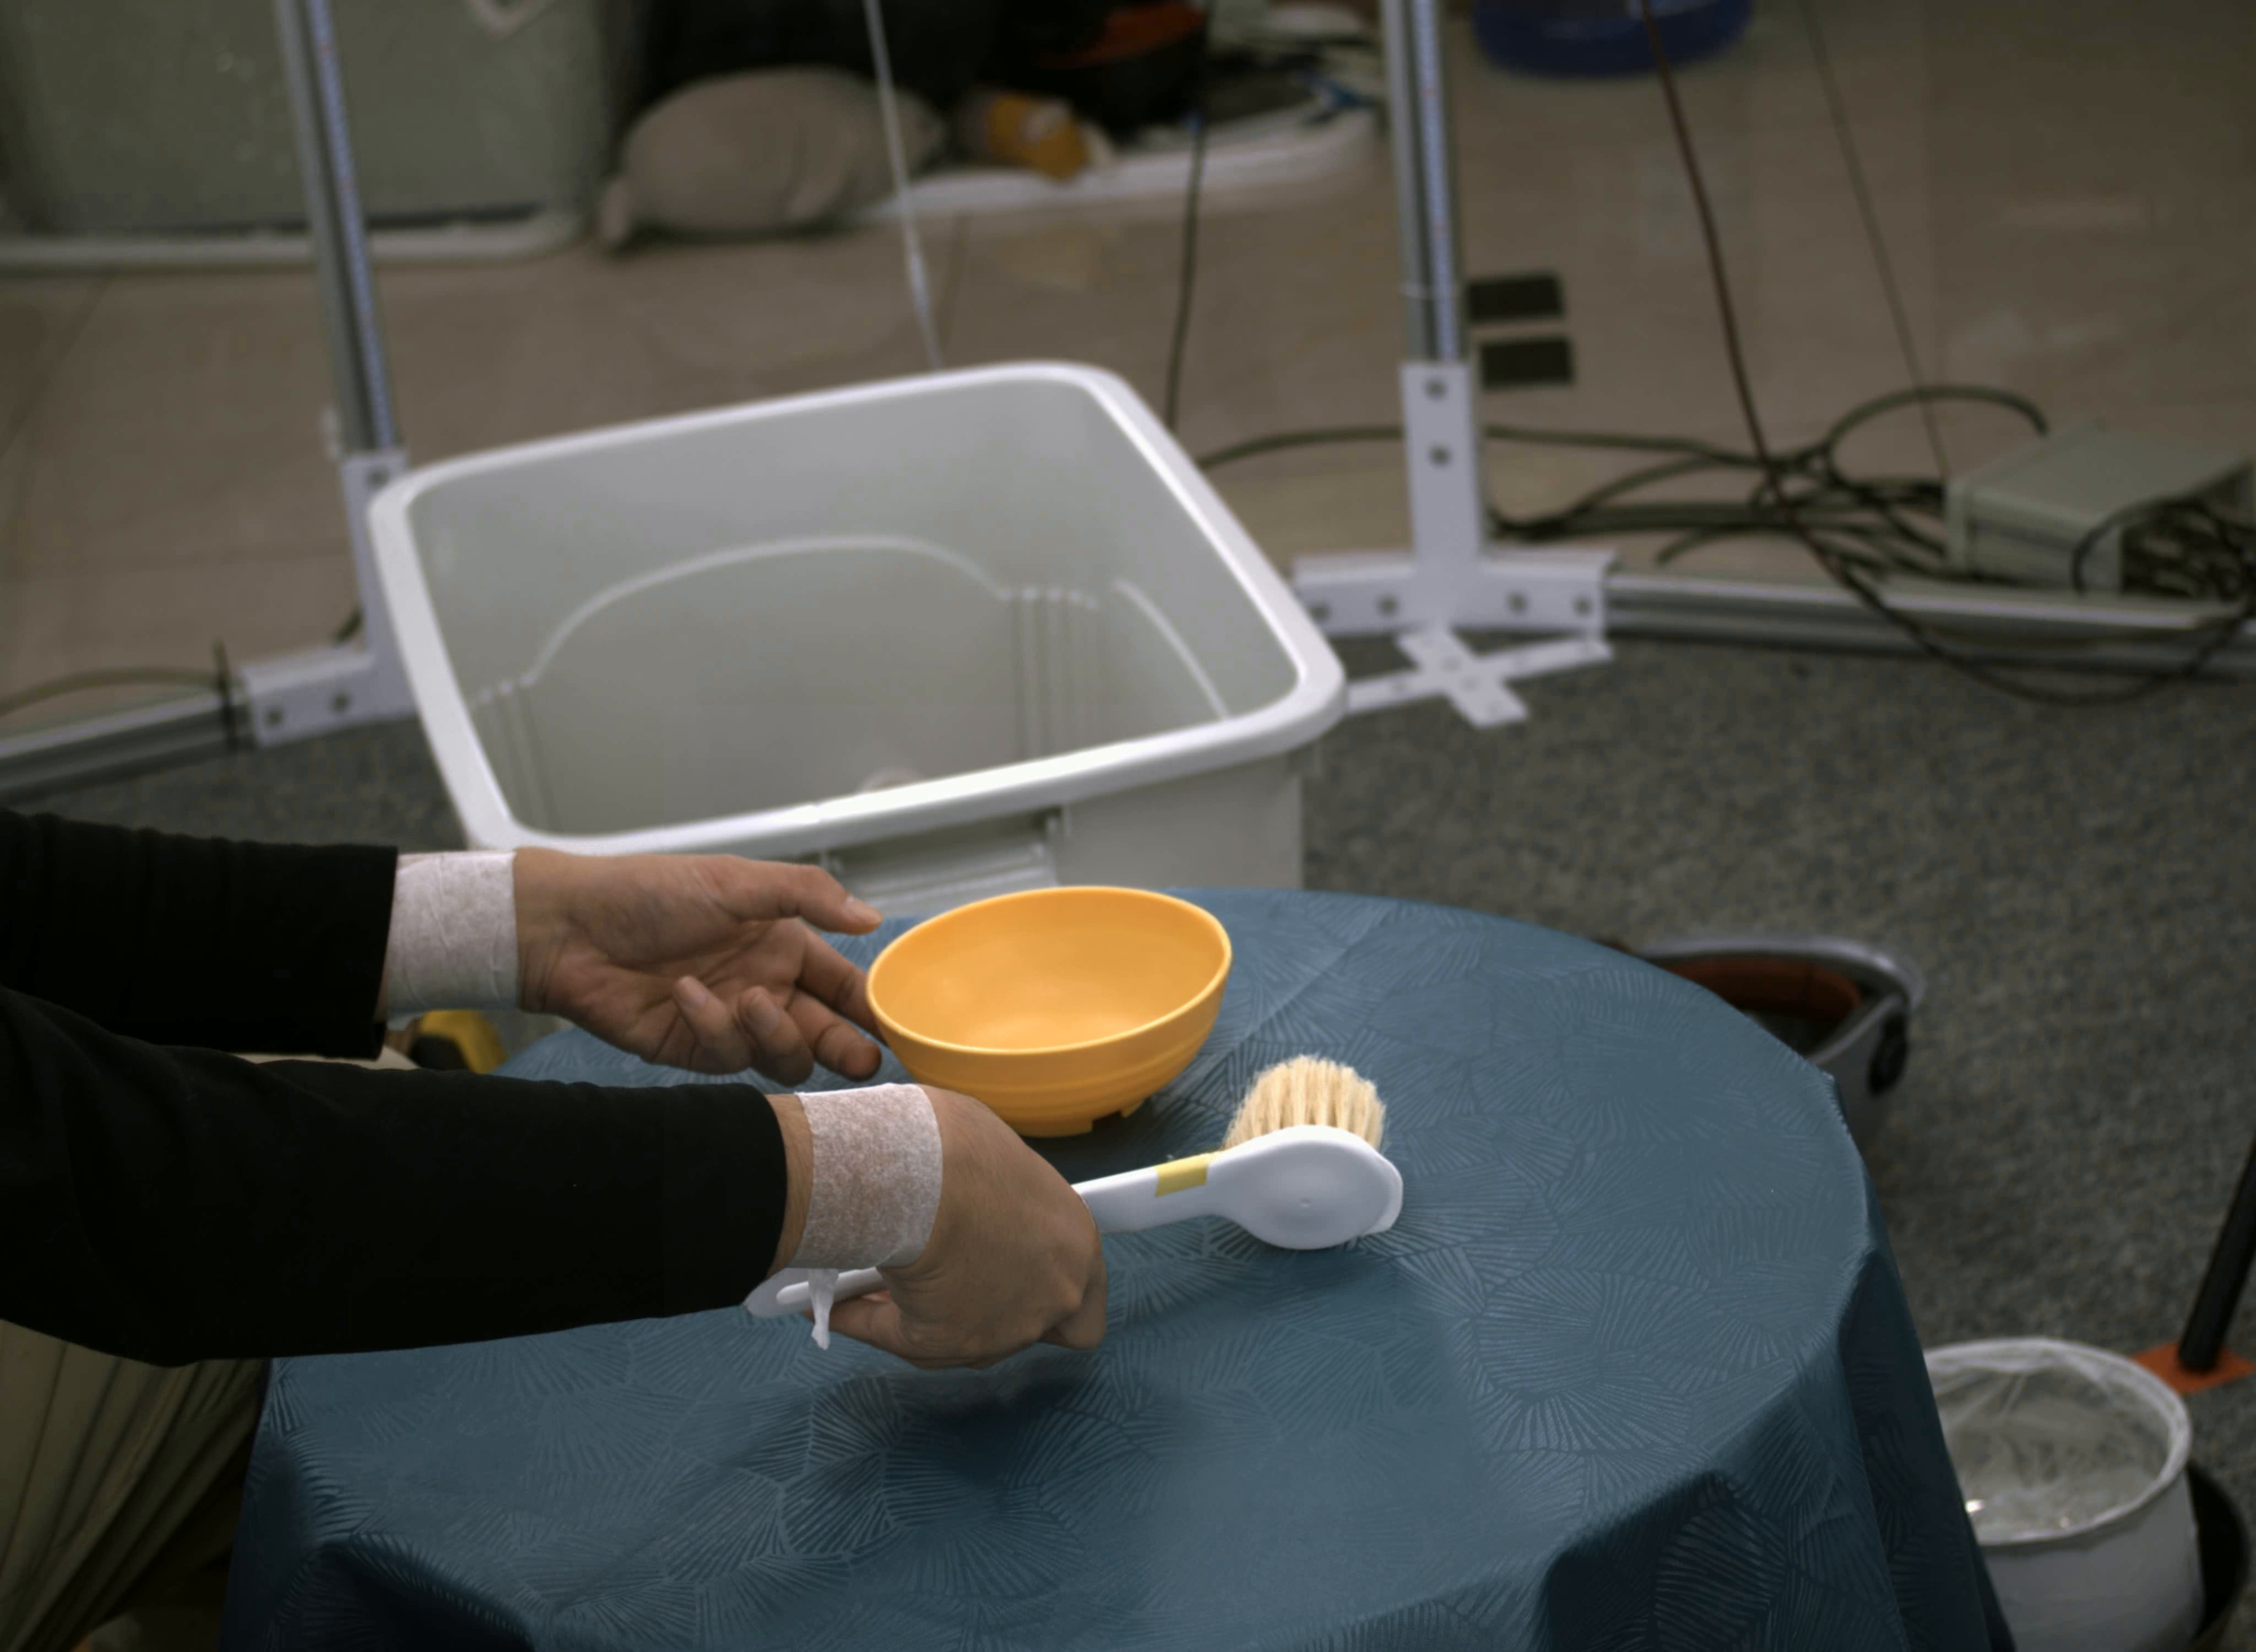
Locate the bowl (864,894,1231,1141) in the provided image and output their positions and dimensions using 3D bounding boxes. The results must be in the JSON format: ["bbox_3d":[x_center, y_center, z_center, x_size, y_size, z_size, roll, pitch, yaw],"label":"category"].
[{"bbox_3d":[-0.028,0.082,2.208,0.145,0.061,0.143,-6,24,3],"label":"bowl"}]

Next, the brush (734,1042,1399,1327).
[{"bbox_3d":[-0.025,0.132,2.044,0.266,0.070,0.055,-9,41,-23],"label":"brush"}]
